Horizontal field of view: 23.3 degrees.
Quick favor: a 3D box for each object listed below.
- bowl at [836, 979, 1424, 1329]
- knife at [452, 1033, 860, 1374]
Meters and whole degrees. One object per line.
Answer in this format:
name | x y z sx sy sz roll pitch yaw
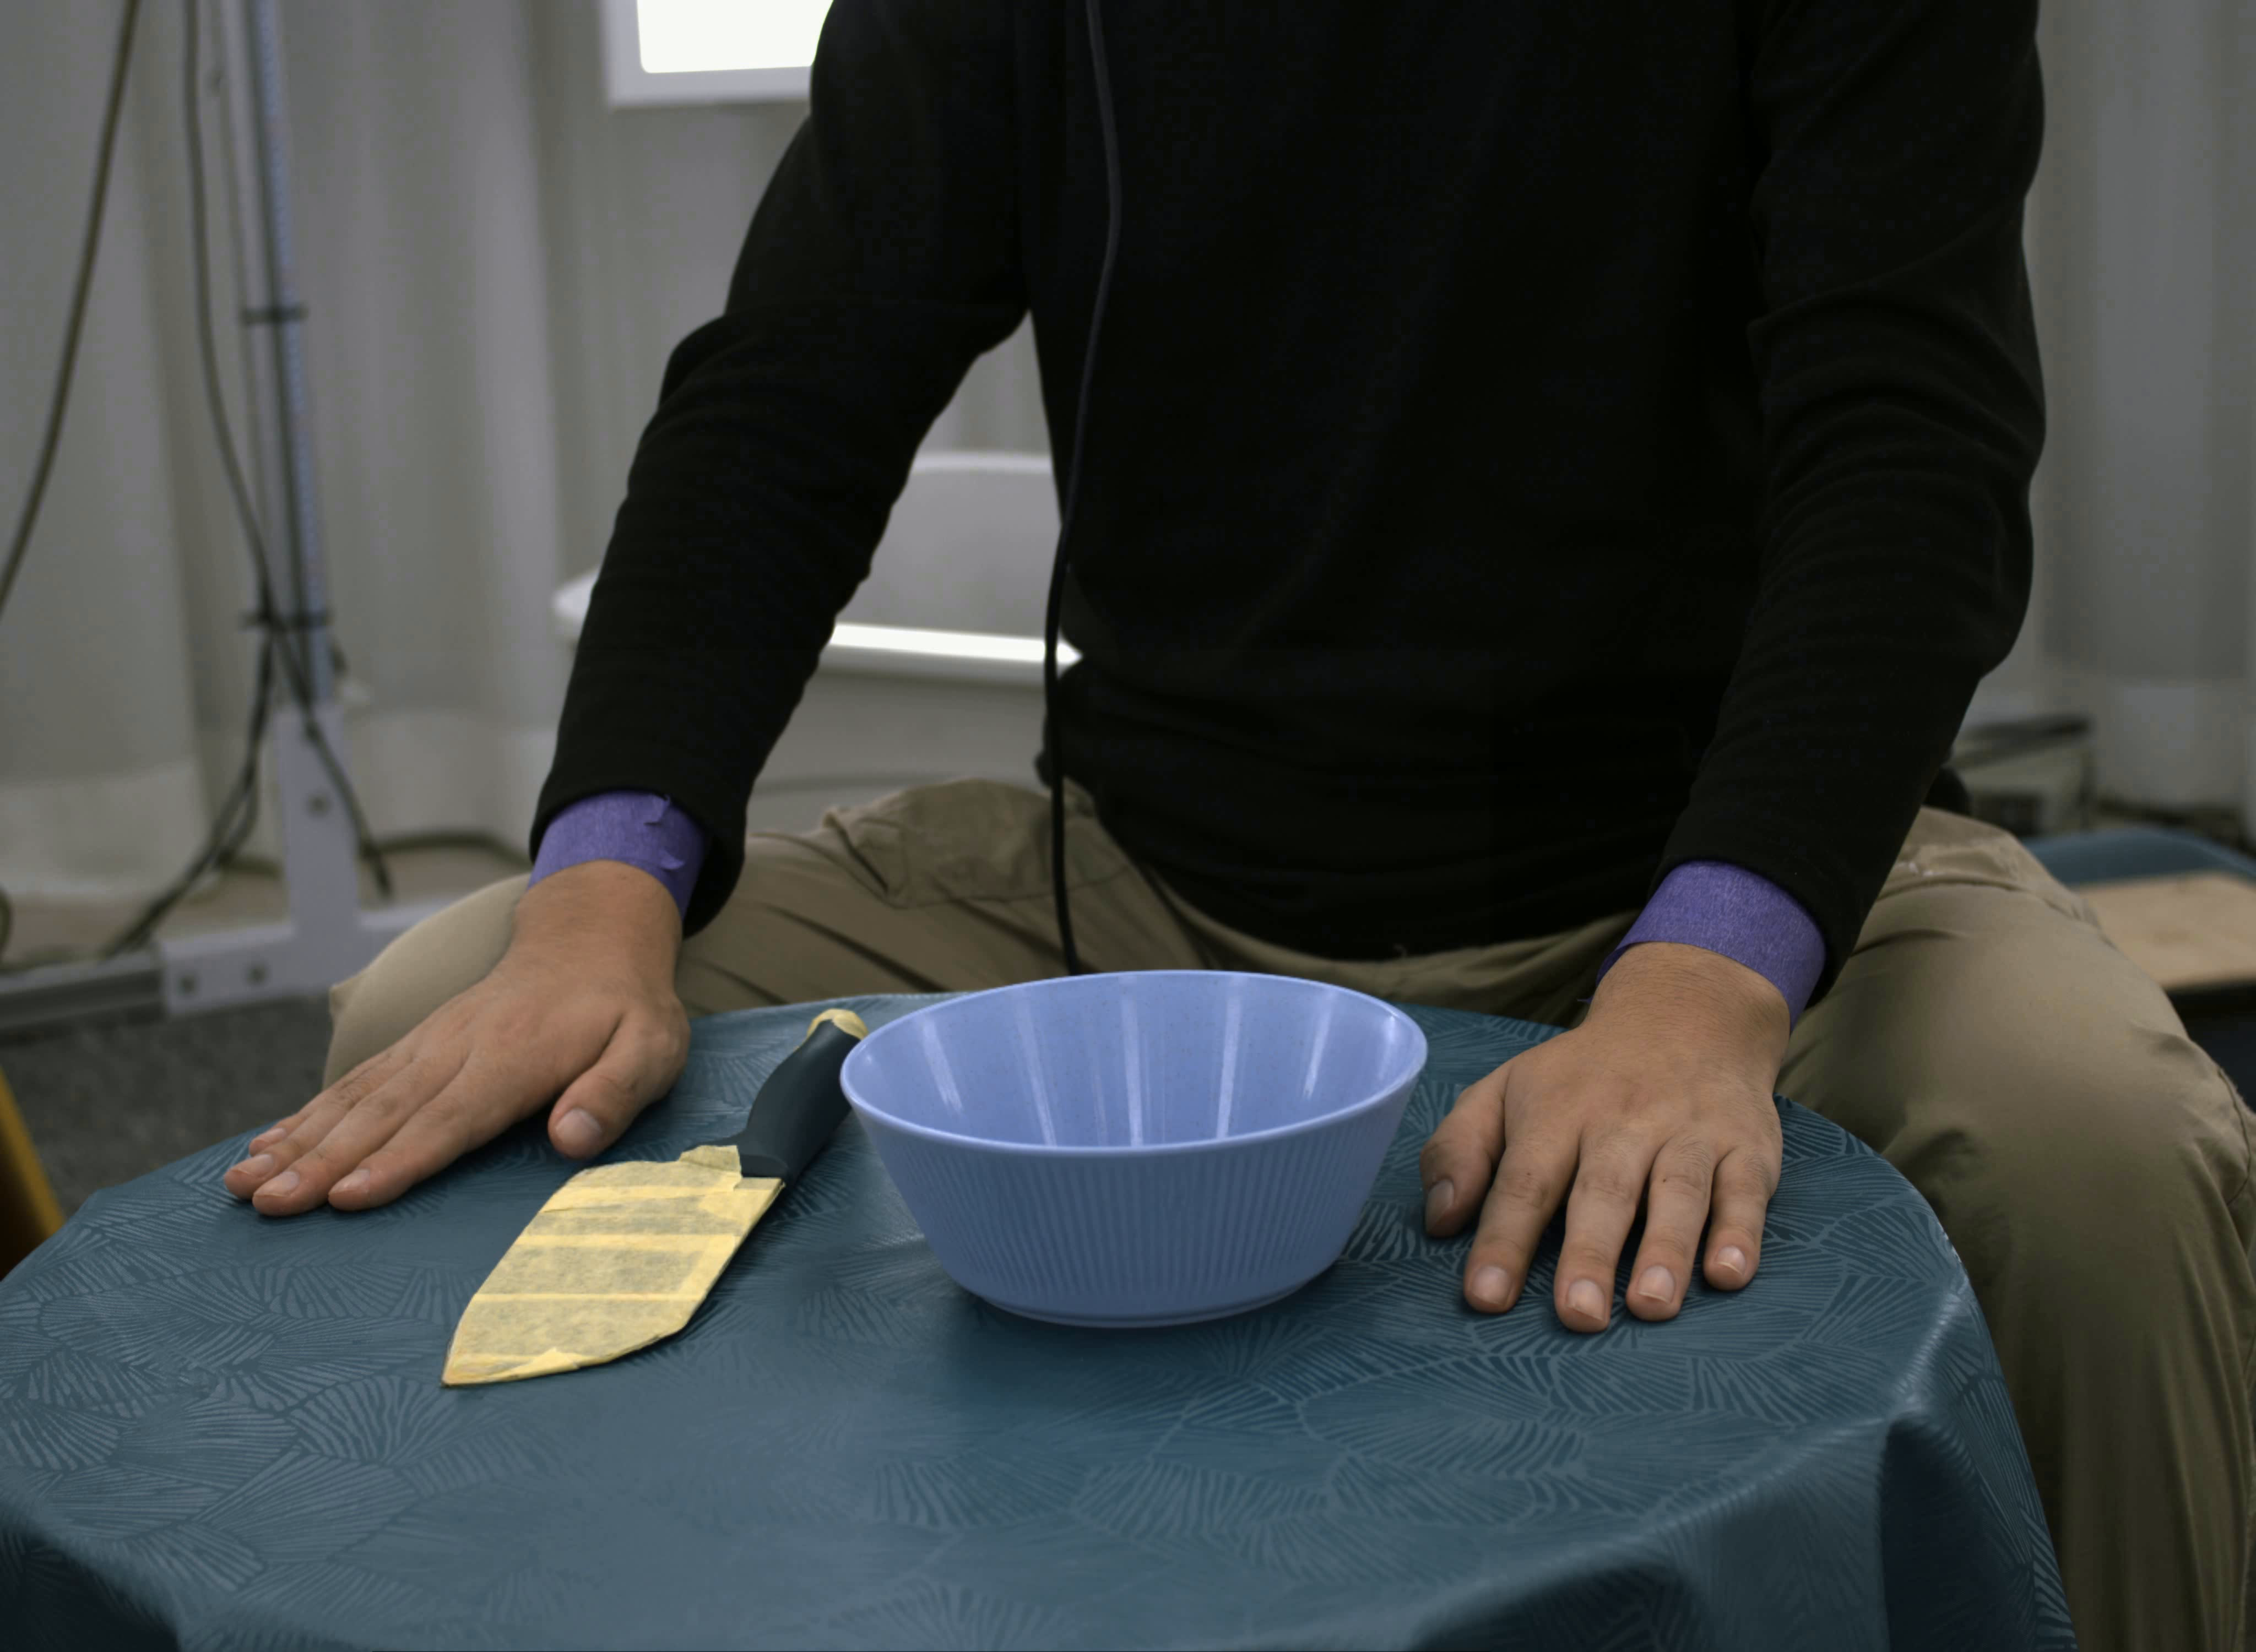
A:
bowl | 0.002 0.101 1.636 0.175 0.070 0.177 -3 15 1
knife | -0.142 0.117 1.706 0.081 0.027 0.291 3 17 15
